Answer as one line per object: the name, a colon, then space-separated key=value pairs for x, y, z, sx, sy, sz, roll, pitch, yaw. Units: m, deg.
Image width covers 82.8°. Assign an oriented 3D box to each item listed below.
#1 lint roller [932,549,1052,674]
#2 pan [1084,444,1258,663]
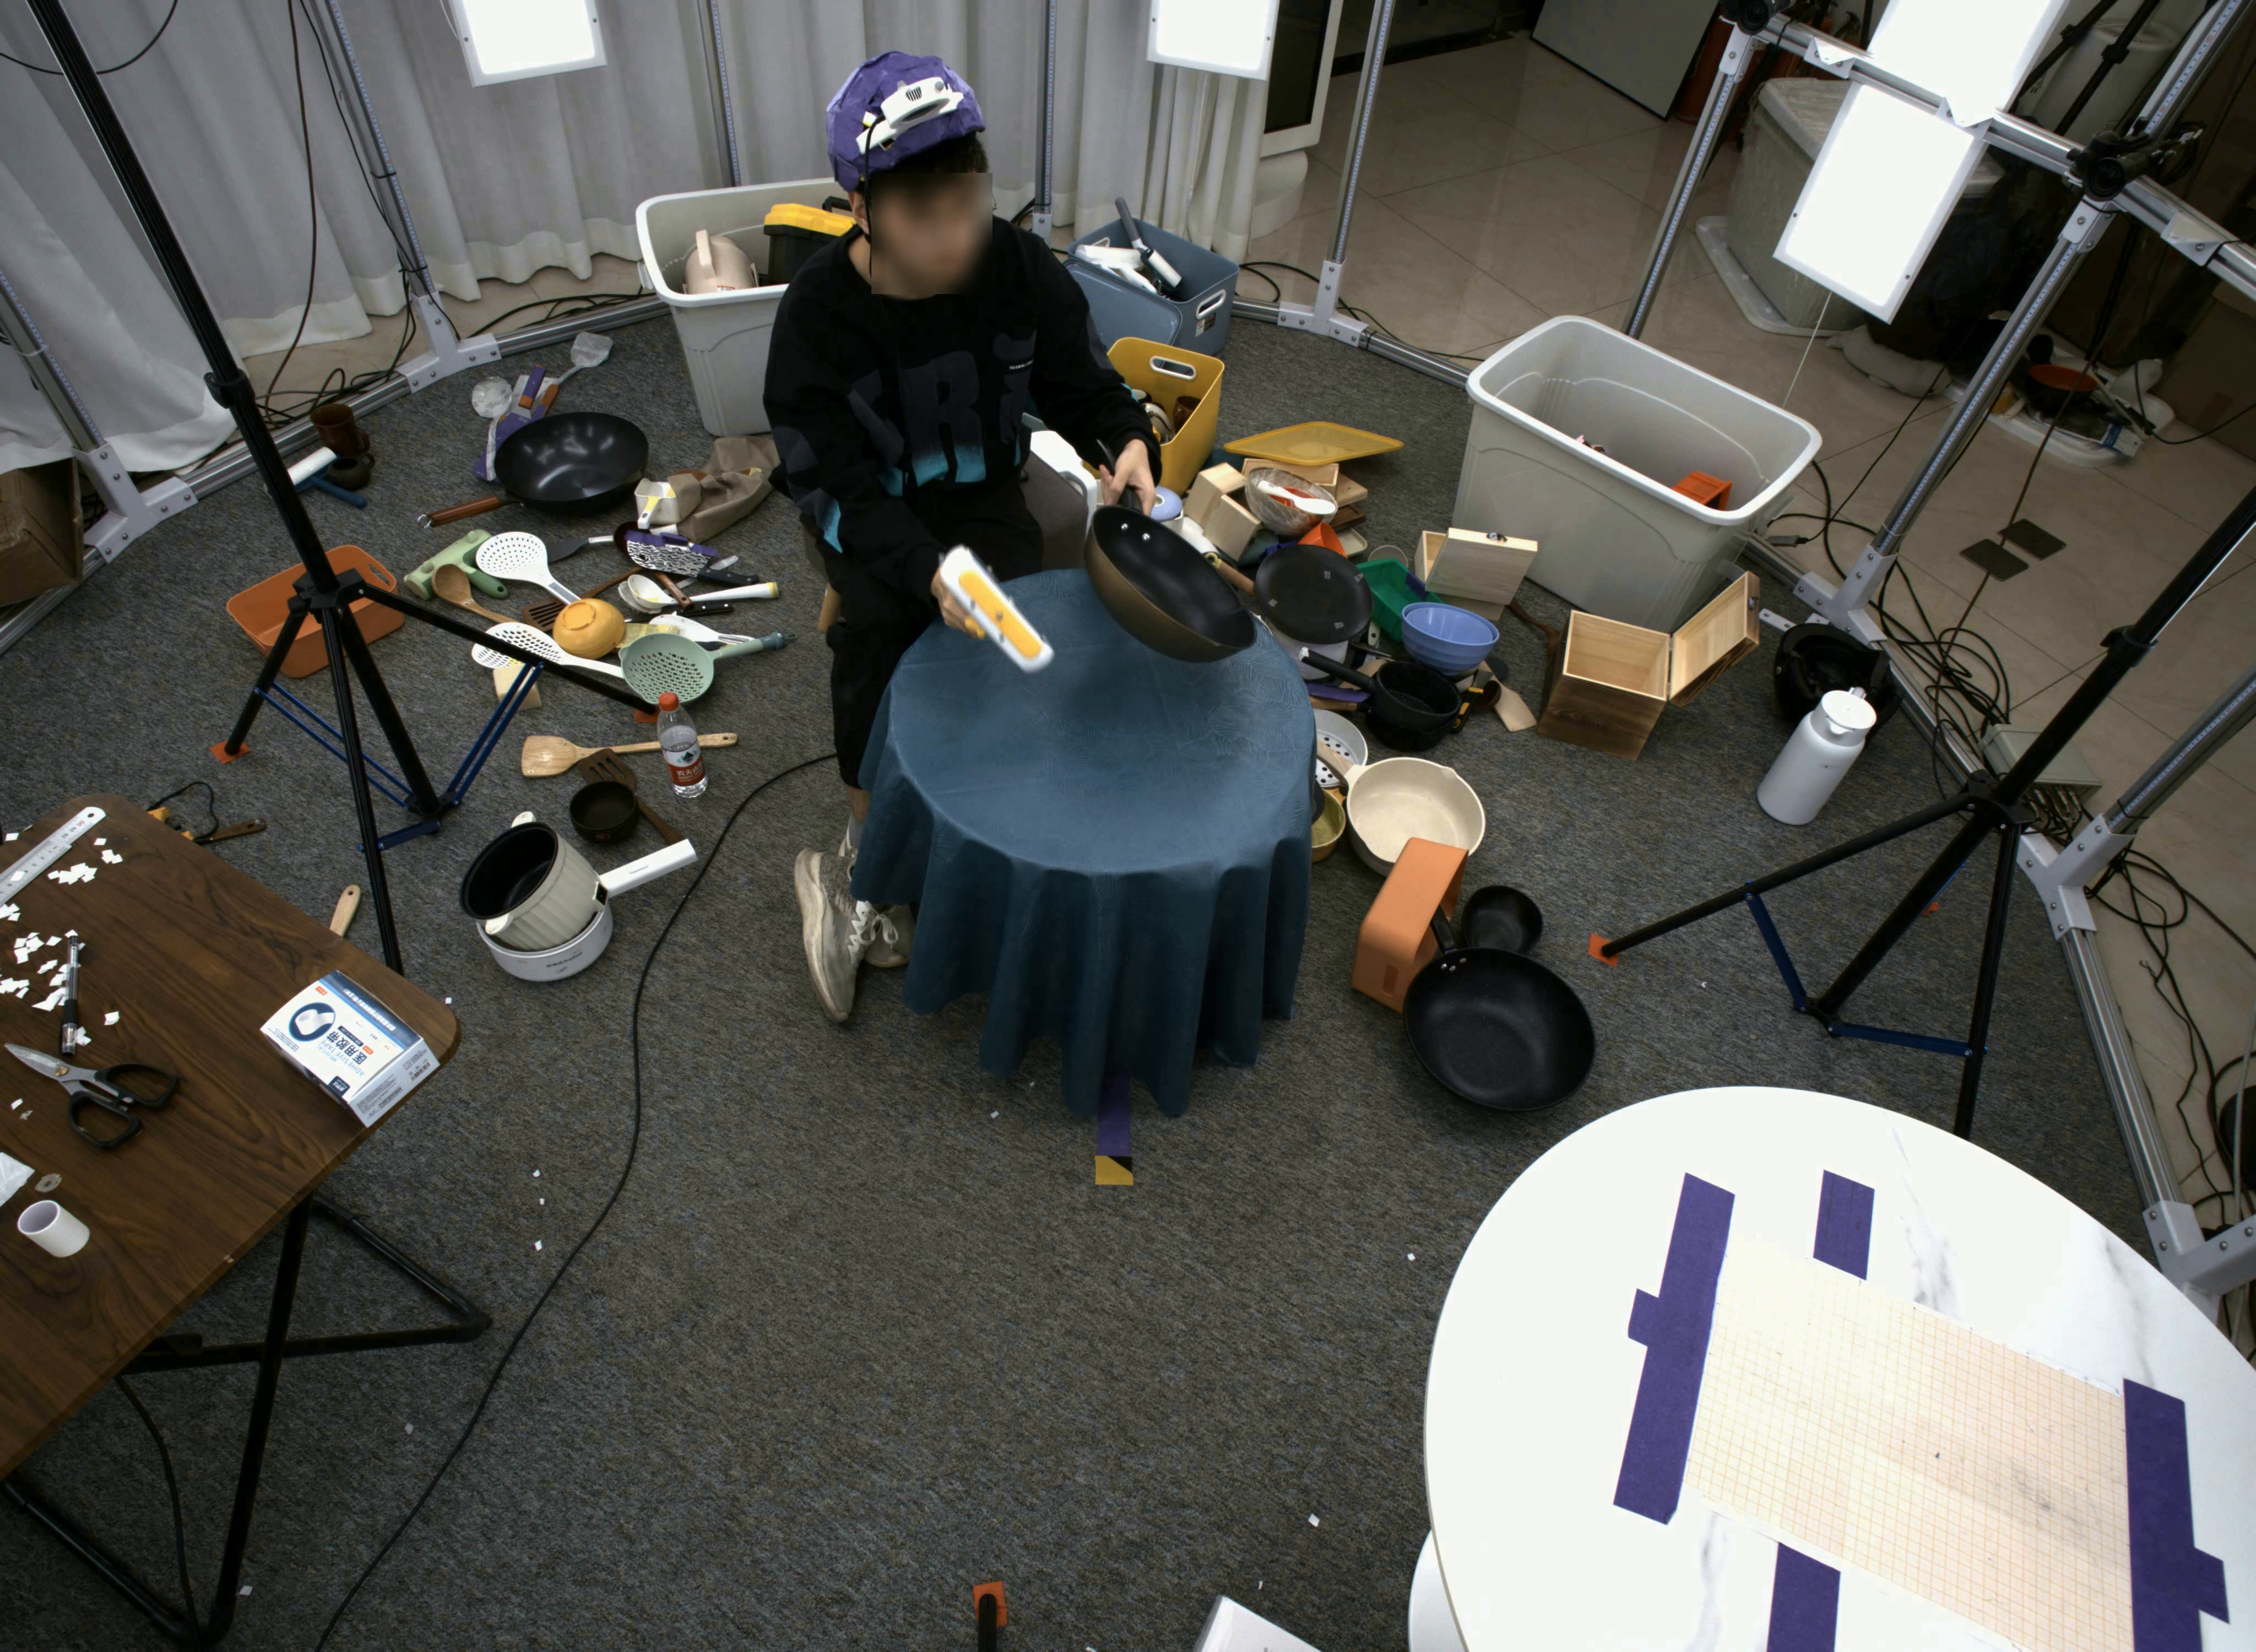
lint roller: x=-0.191 y=-0.292 z=1.749 sx=0.074 sy=0.191 sz=0.195 roll=-46 pitch=17 yaw=5
pan: x=0.014 y=-0.383 z=1.820 sx=0.285 sy=0.086 sz=0.474 roll=15 pitch=38 yaw=-39
